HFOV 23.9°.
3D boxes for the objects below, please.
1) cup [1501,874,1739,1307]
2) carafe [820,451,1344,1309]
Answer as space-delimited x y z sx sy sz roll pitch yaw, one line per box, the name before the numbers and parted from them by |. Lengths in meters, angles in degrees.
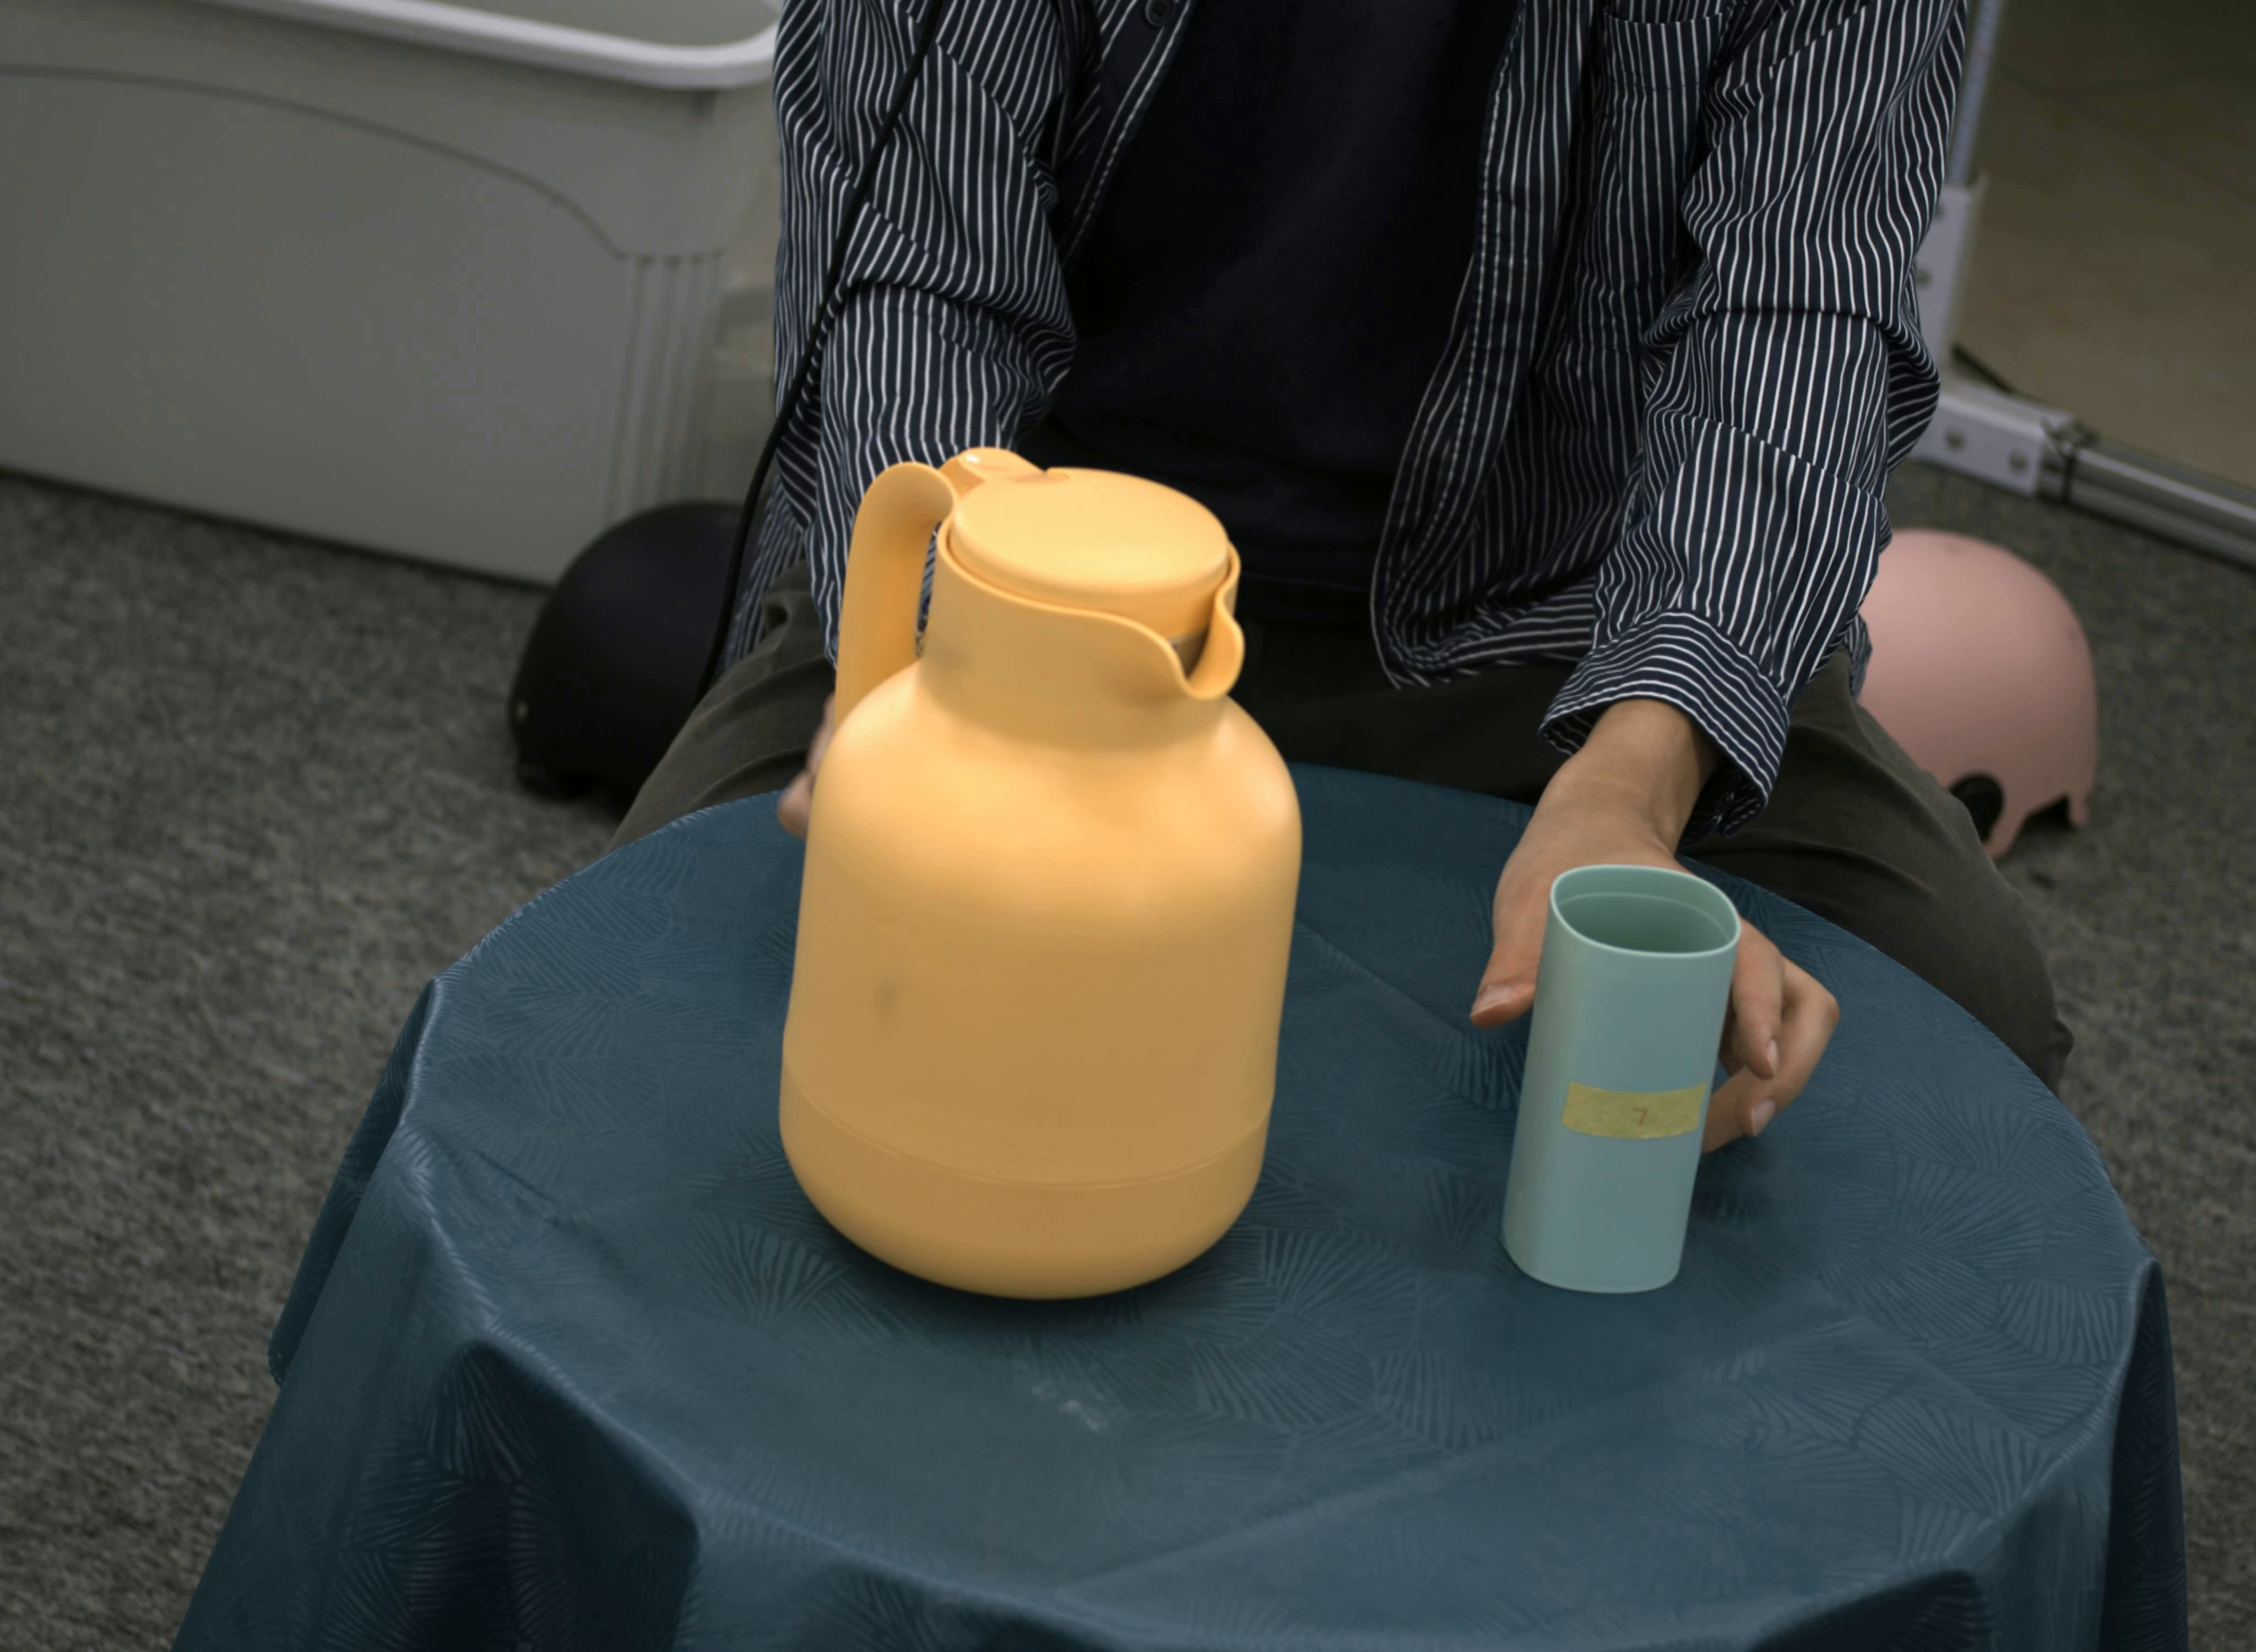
cup | 0.162 0.087 1.769 0.066 0.132 0.067 5 27 -3
carafe | -0.021 0.008 1.736 0.162 0.259 0.204 -11 32 -34
